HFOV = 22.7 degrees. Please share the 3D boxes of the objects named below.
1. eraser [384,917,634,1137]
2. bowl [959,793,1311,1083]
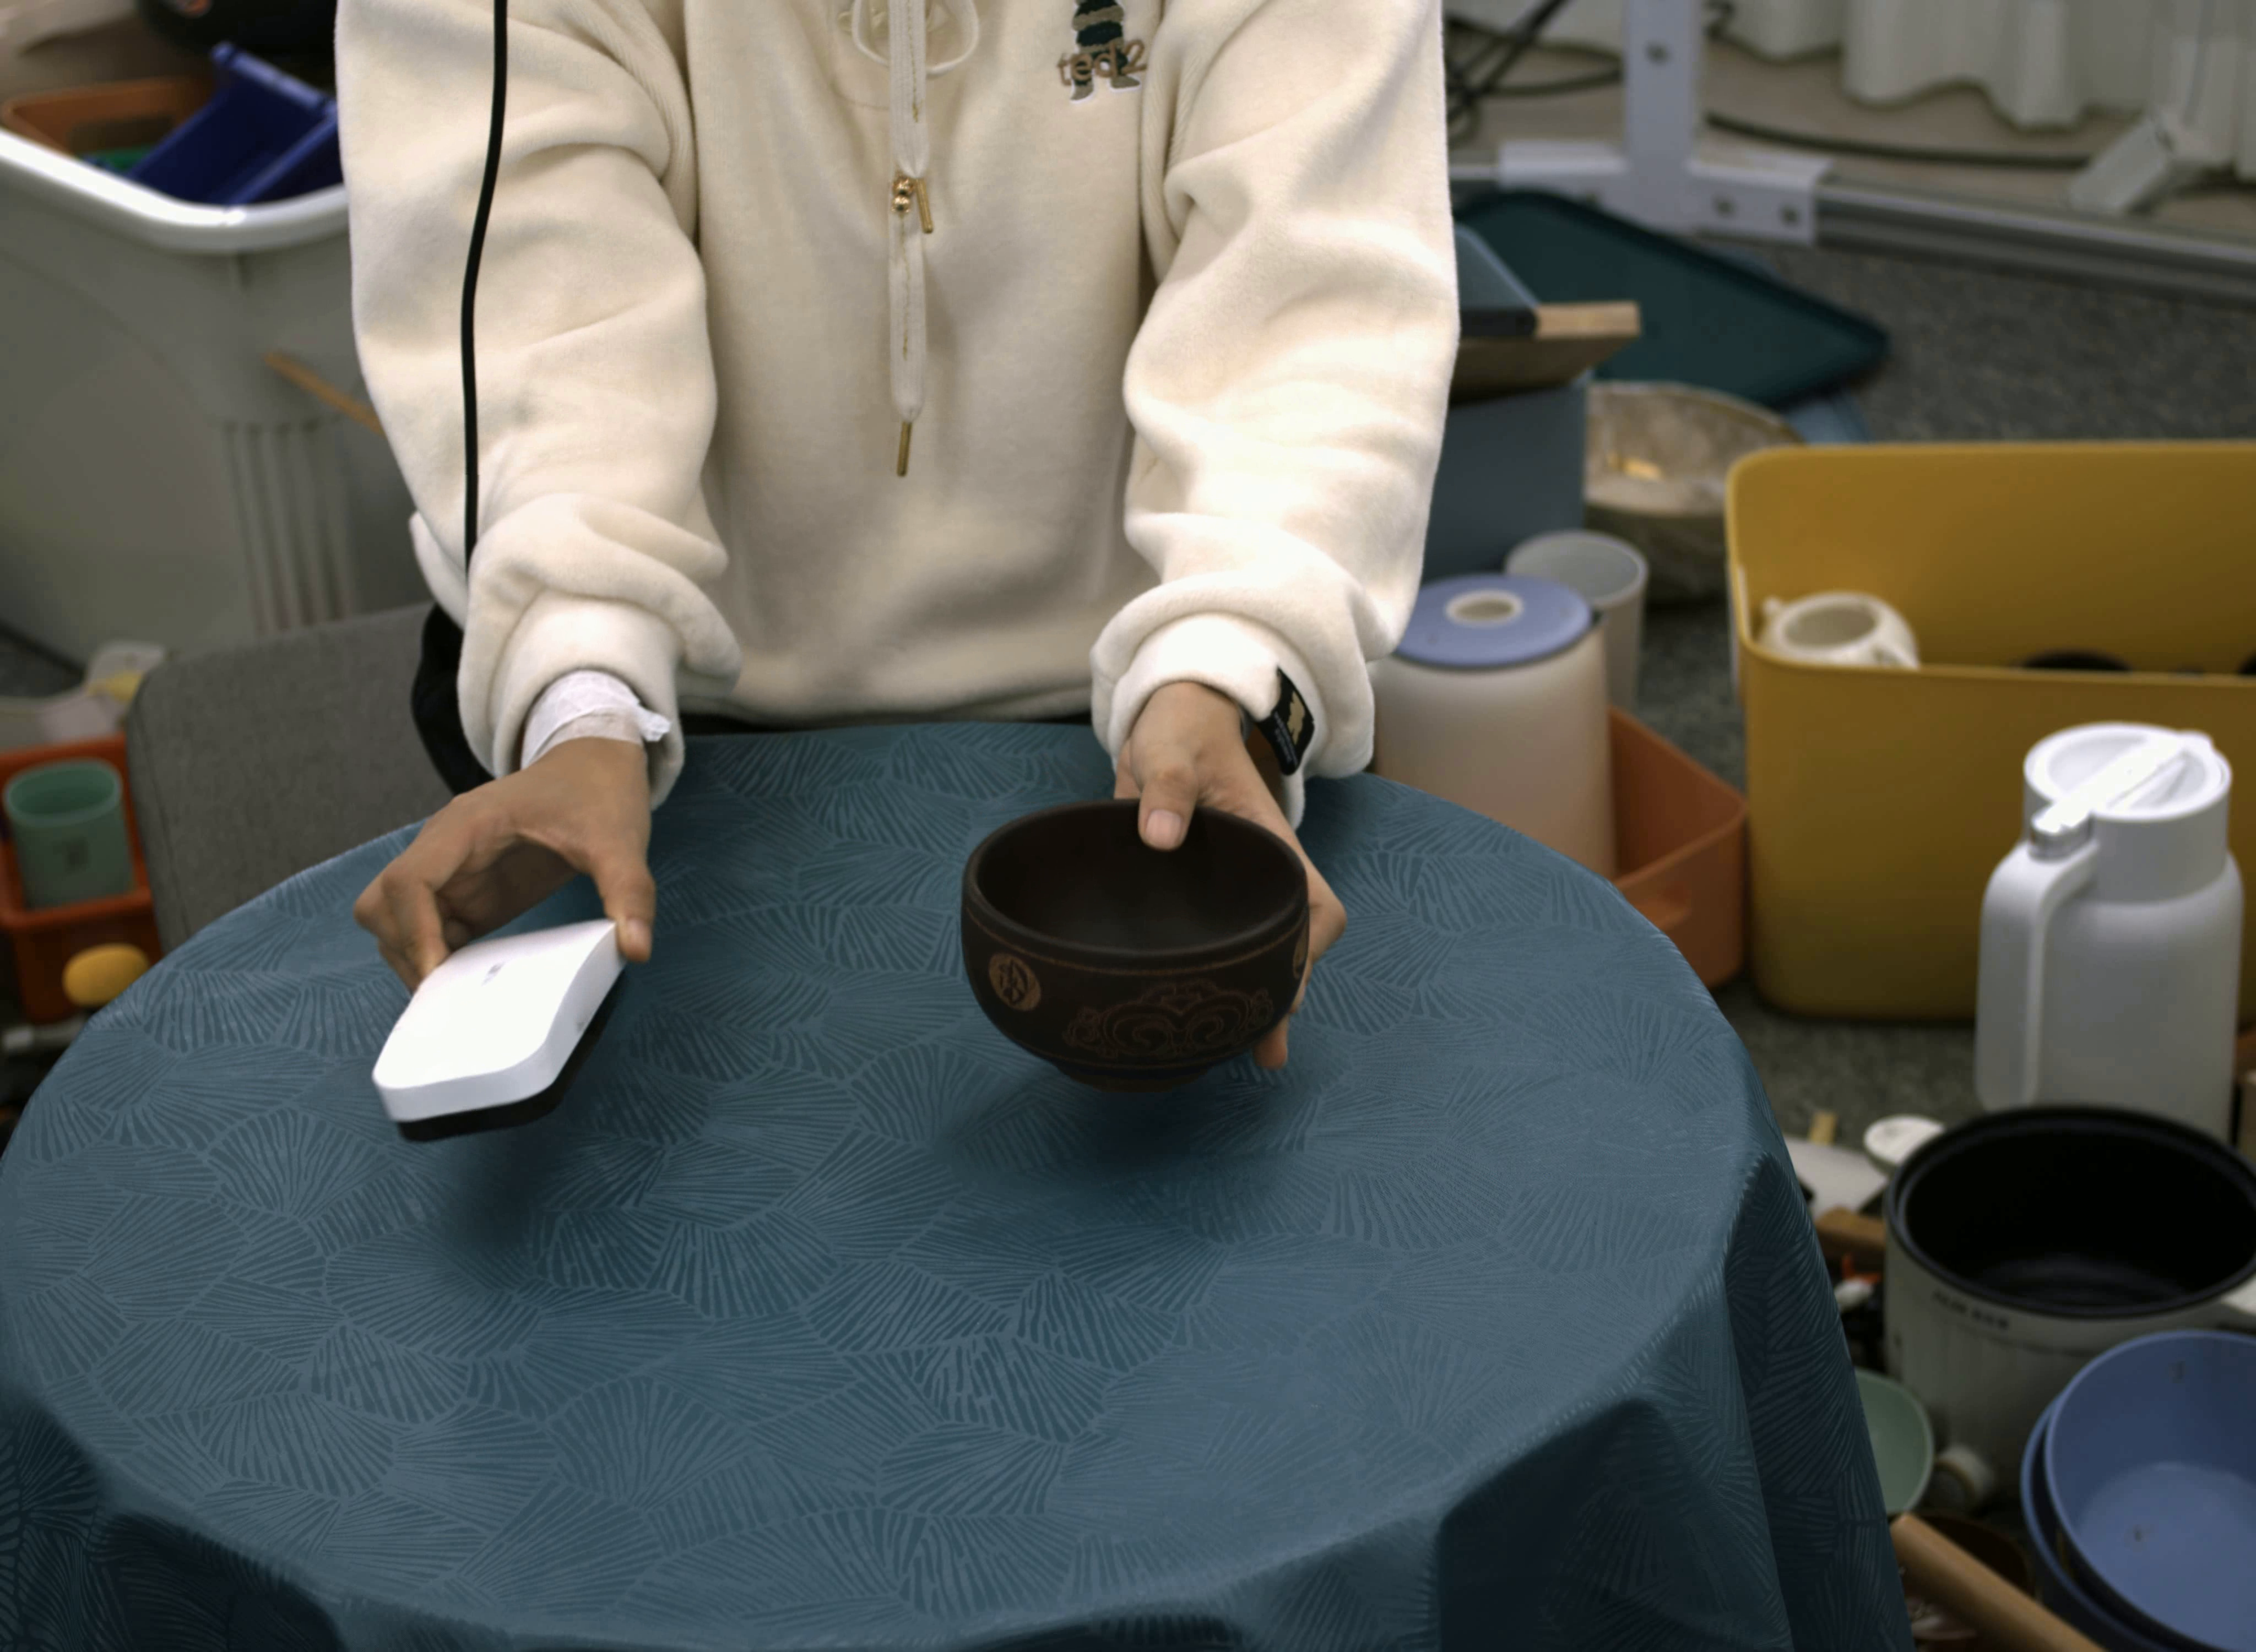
[{"bbox_3d":[-0.204,0.063,1.879,0.063,0.034,0.133,-10,18,12],"label":"eraser"},{"bbox_3d":[0.002,0.043,1.884,0.117,0.069,0.119,3,23,-1],"label":"bowl"}]
